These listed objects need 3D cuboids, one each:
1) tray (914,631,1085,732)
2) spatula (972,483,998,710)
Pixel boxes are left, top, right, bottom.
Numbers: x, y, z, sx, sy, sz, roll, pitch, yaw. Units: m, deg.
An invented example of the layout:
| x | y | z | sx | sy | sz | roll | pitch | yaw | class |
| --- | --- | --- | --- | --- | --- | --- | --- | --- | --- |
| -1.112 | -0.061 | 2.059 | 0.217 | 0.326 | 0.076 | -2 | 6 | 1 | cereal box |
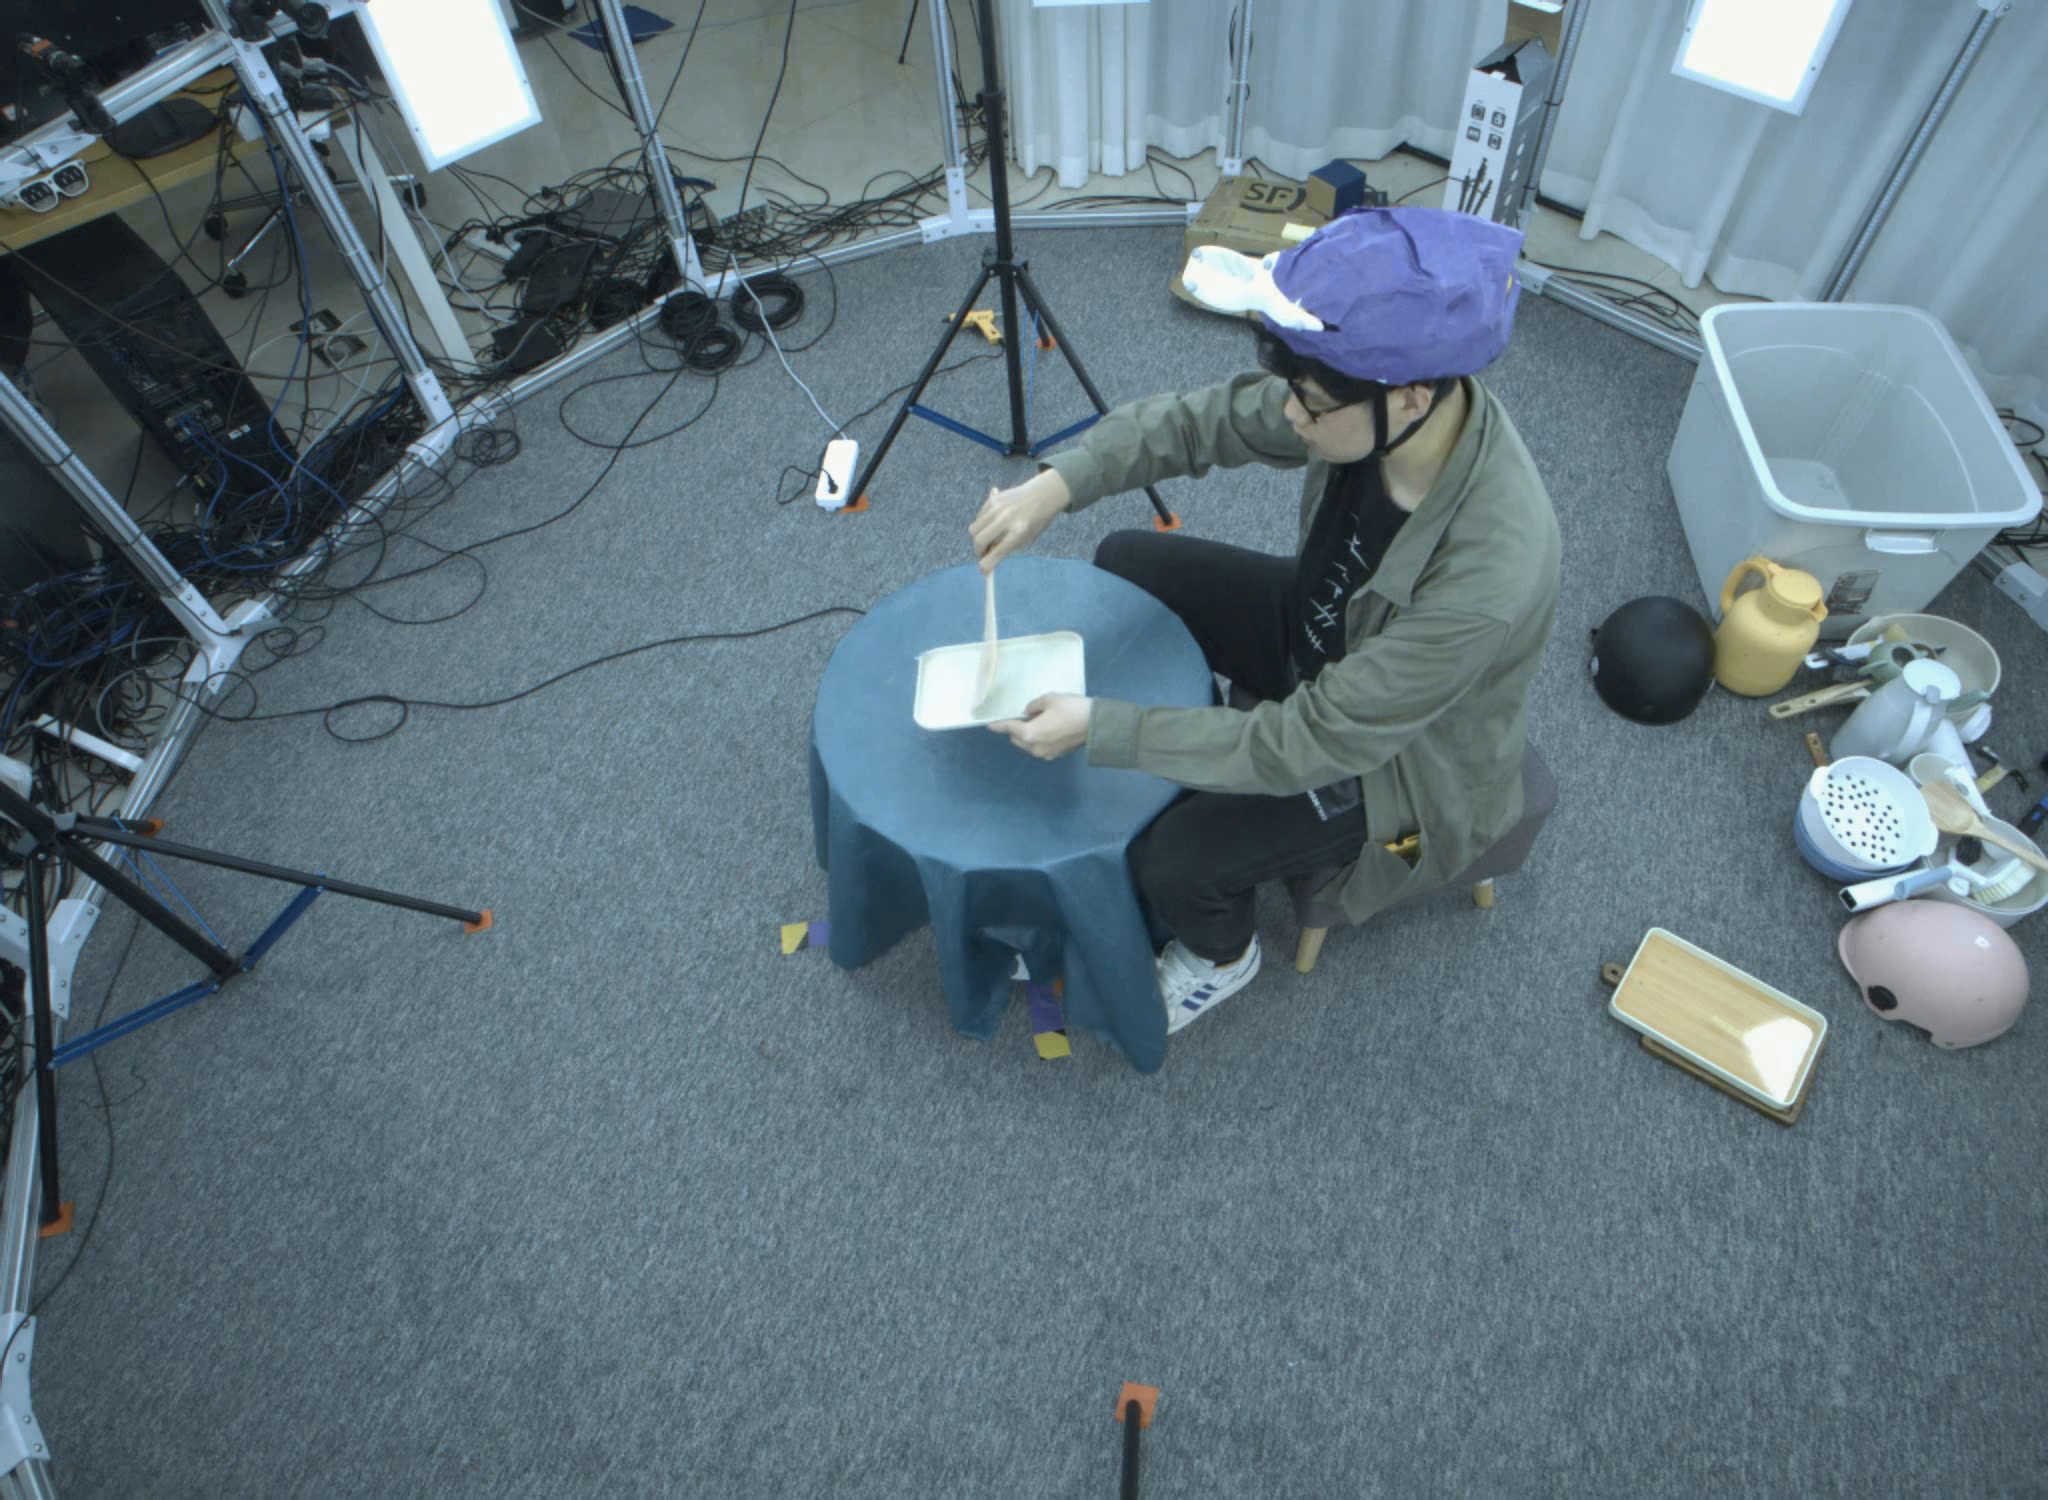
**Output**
| x | y | z | sx | sy | sz | roll | pitch | yaw | class |
| --- | --- | --- | --- | --- | --- | --- | --- | --- | --- |
| -0.034 | -0.095 | 1.721 | 0.239 | 0.018 | 0.169 | -6 | 46 | 5 | tray |
| -0.050 | -0.219 | 1.687 | 0.017 | 0.079 | 0.326 | 6 | 75 | -22 | spatula |
